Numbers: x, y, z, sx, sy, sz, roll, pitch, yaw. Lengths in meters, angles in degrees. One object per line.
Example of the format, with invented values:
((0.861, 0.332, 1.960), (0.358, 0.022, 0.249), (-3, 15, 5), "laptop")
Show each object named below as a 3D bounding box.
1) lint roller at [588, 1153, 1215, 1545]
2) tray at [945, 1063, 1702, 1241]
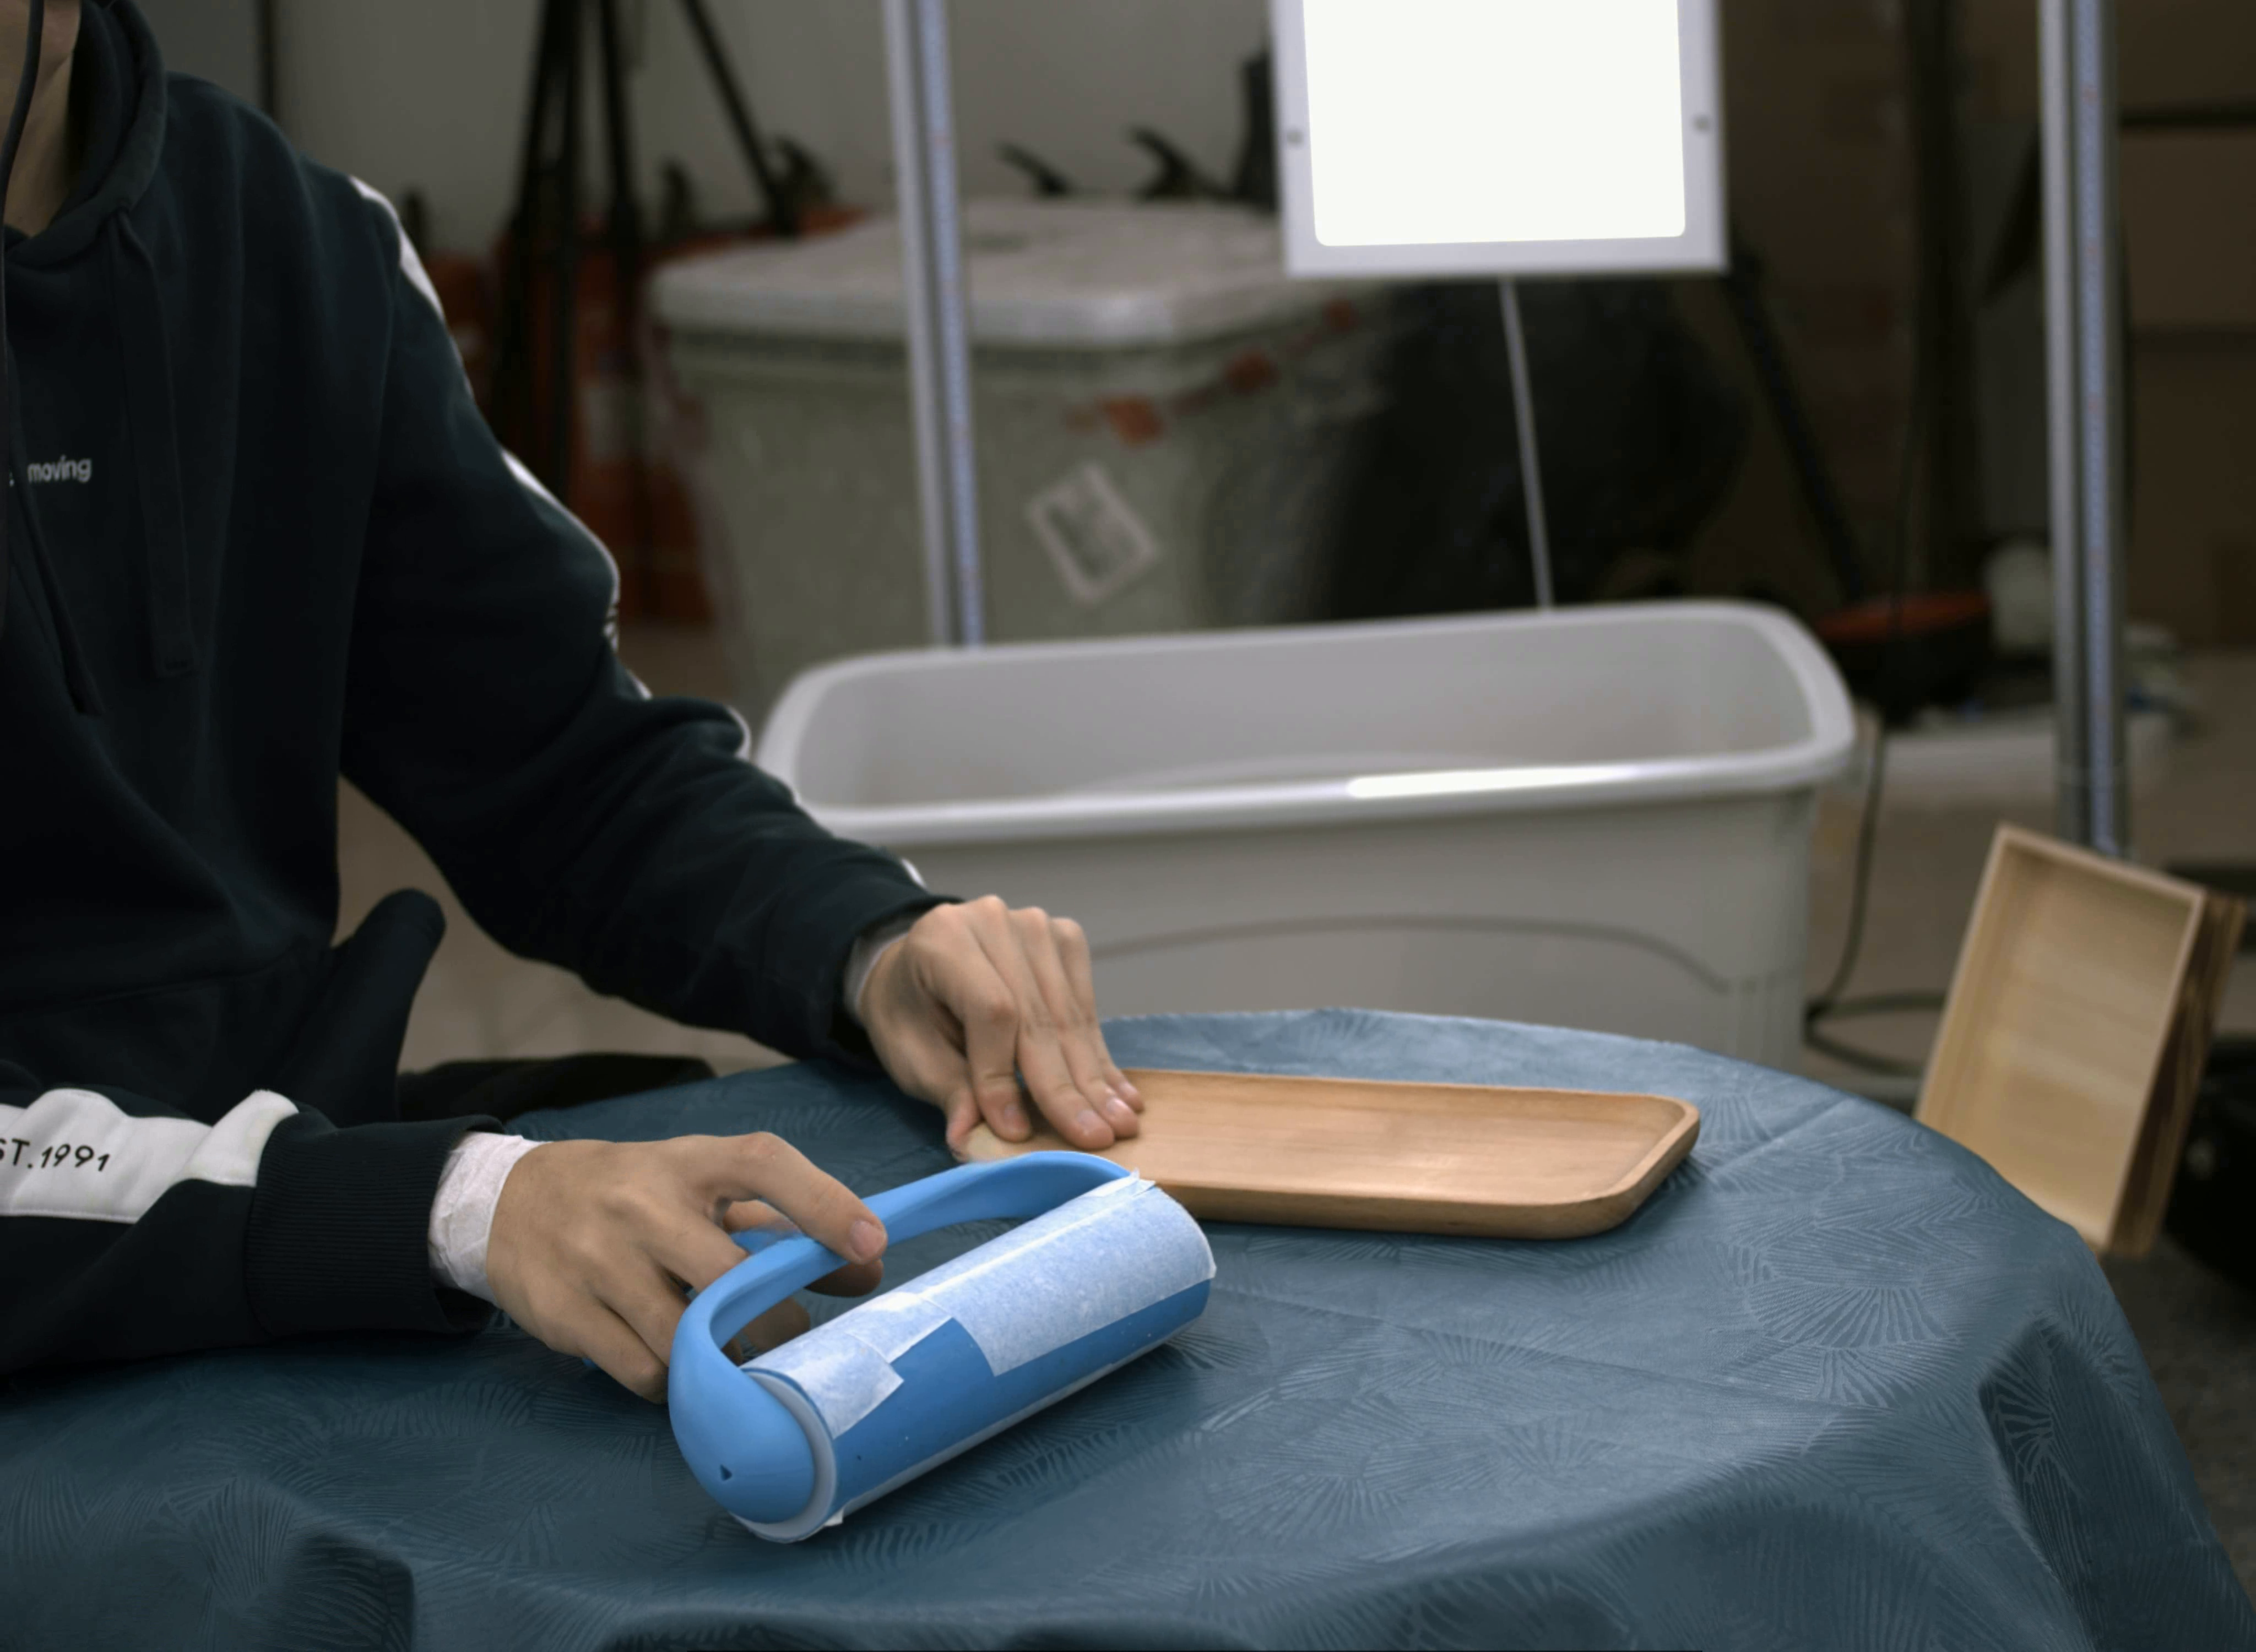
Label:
((-0.098, 0.153, 1.701), (0.184, 0.068, 0.223), (6, 19, 34), "lint roller")
((0.067, 0.111, 1.895), (0.255, 0.023, 0.128), (1, 13, 26), "tray")
